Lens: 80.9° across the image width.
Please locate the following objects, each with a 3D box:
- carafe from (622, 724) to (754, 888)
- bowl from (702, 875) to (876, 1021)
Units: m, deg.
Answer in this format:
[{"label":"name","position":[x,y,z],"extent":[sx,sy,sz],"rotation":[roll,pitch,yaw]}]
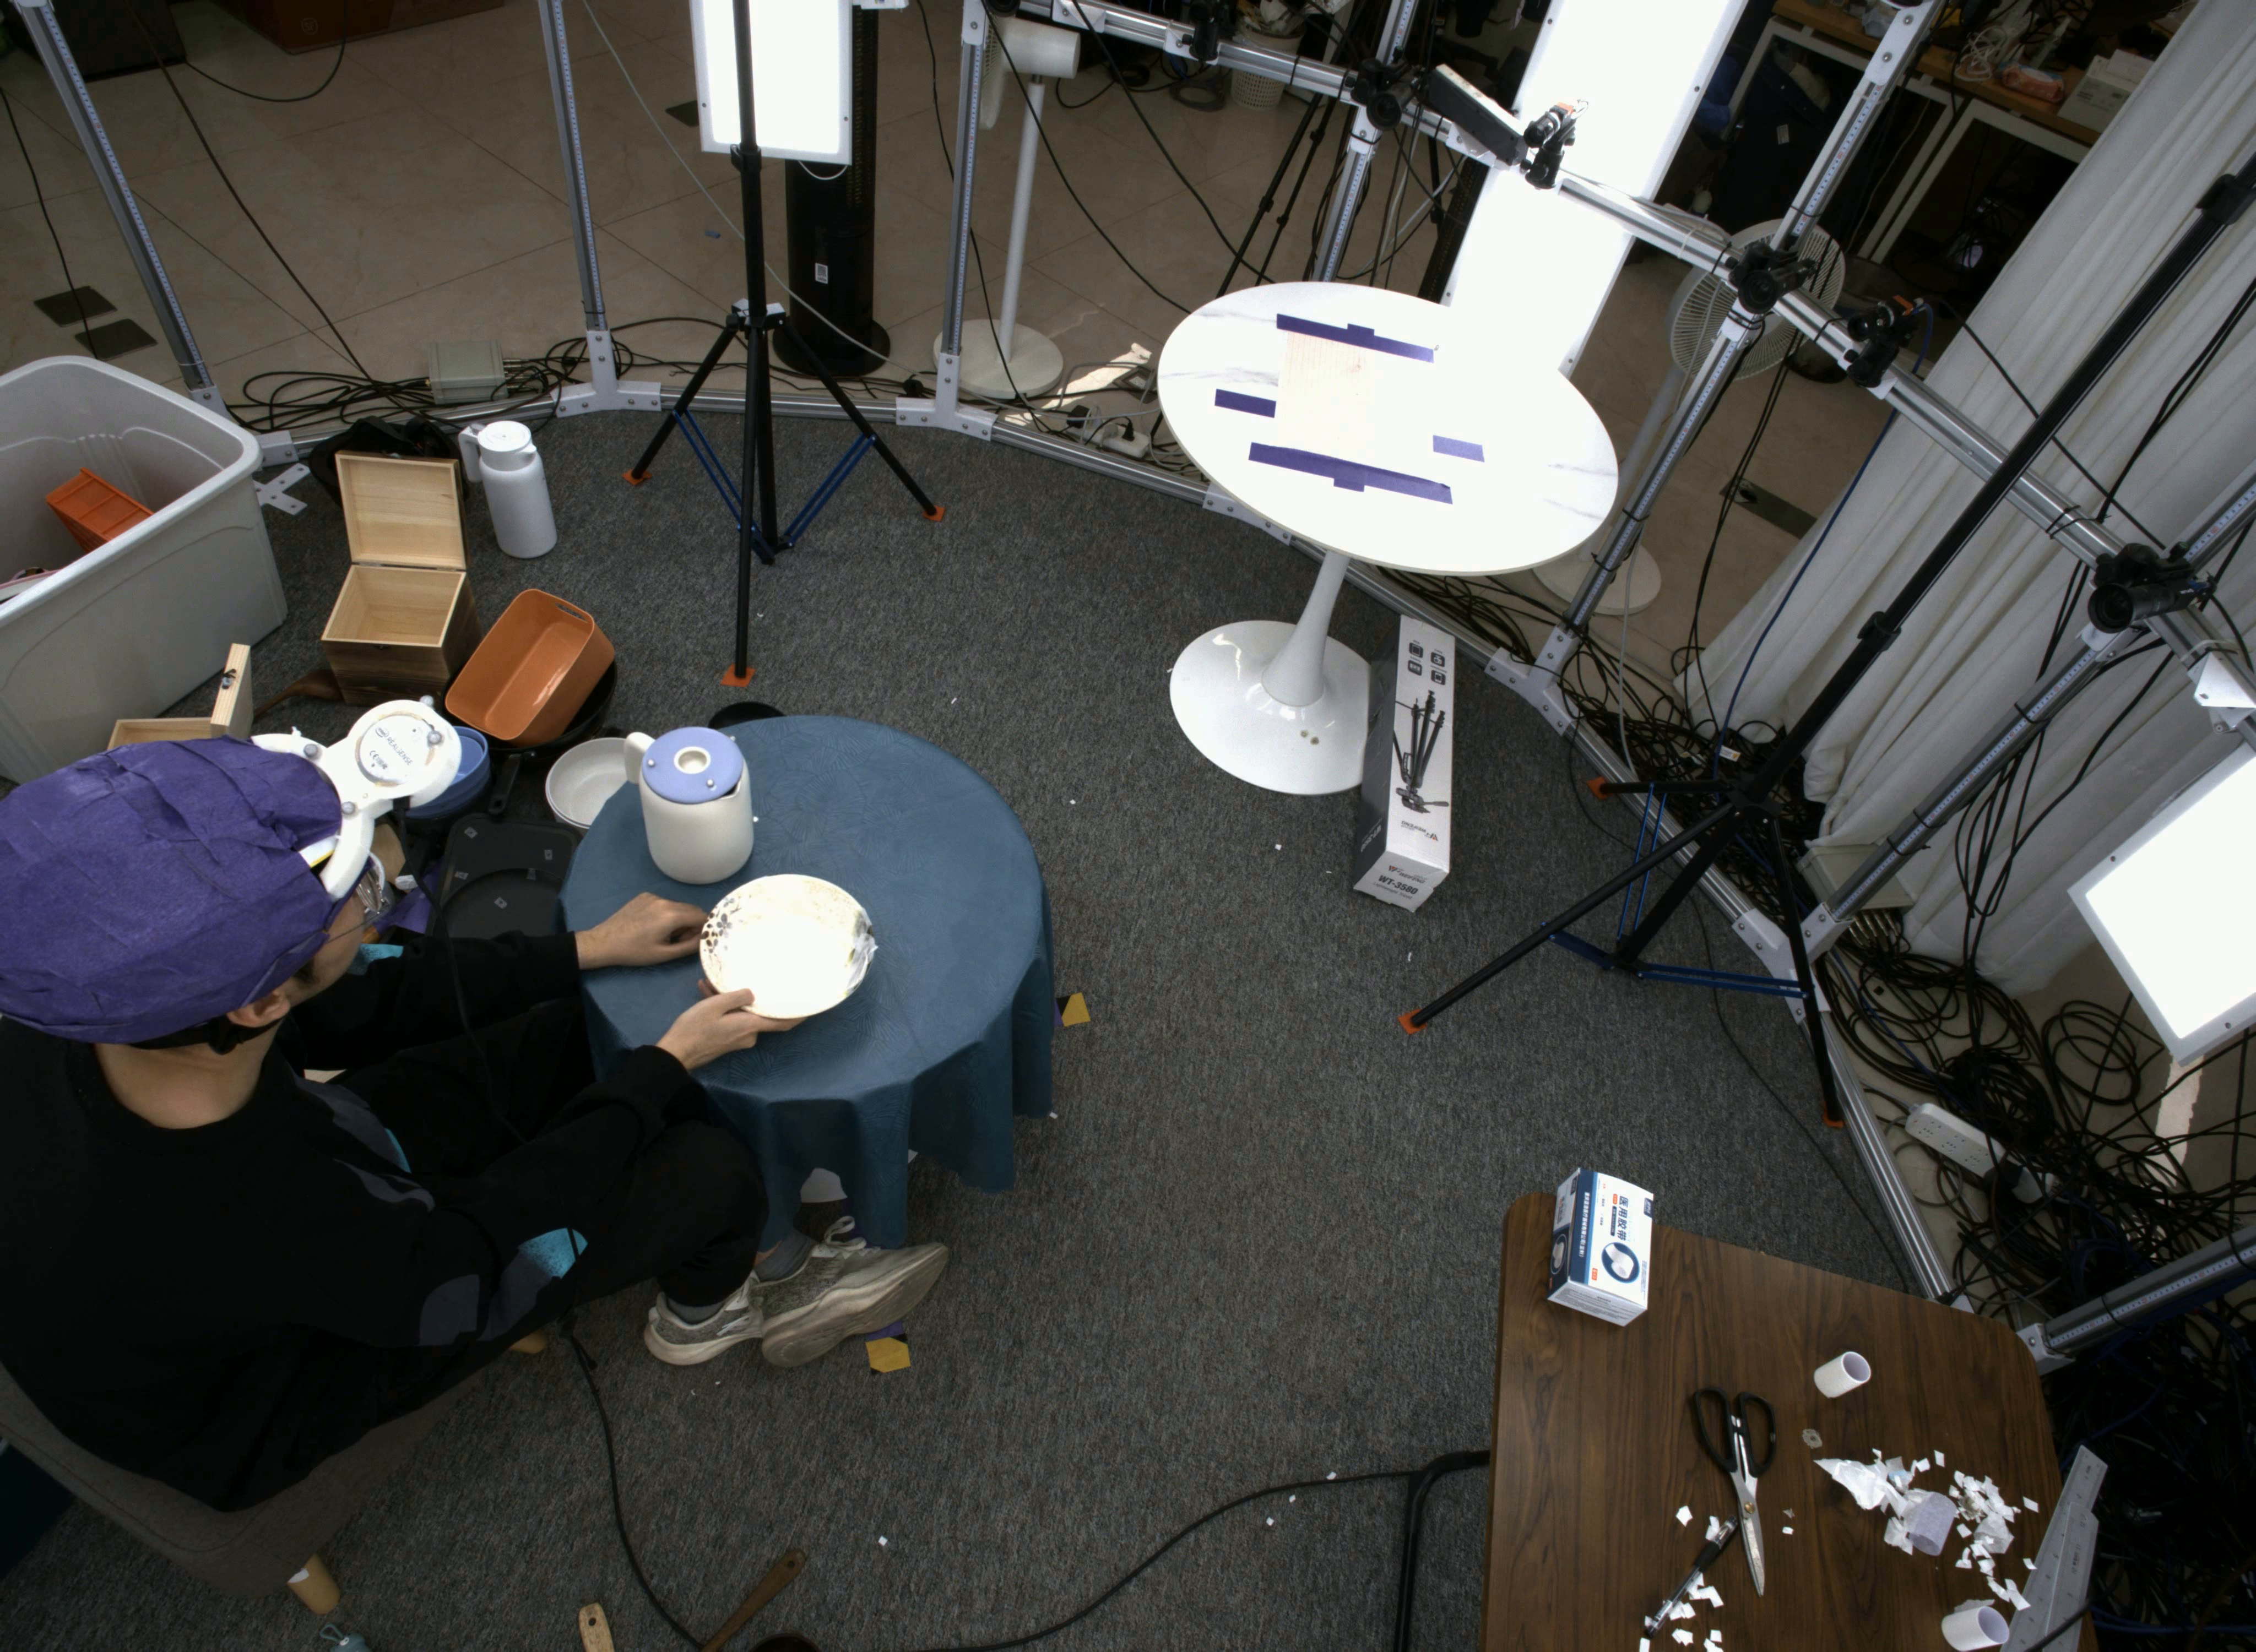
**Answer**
[{"label":"carafe","position":[-0.559,-0.037,1.612],"extent":[0.187,0.187,0.132],"rotation":[28,51,12]},{"label":"bowl","position":[-0.406,0.161,1.567],"extent":[0.203,0.079,0.200],"rotation":[7,53,-7]}]
